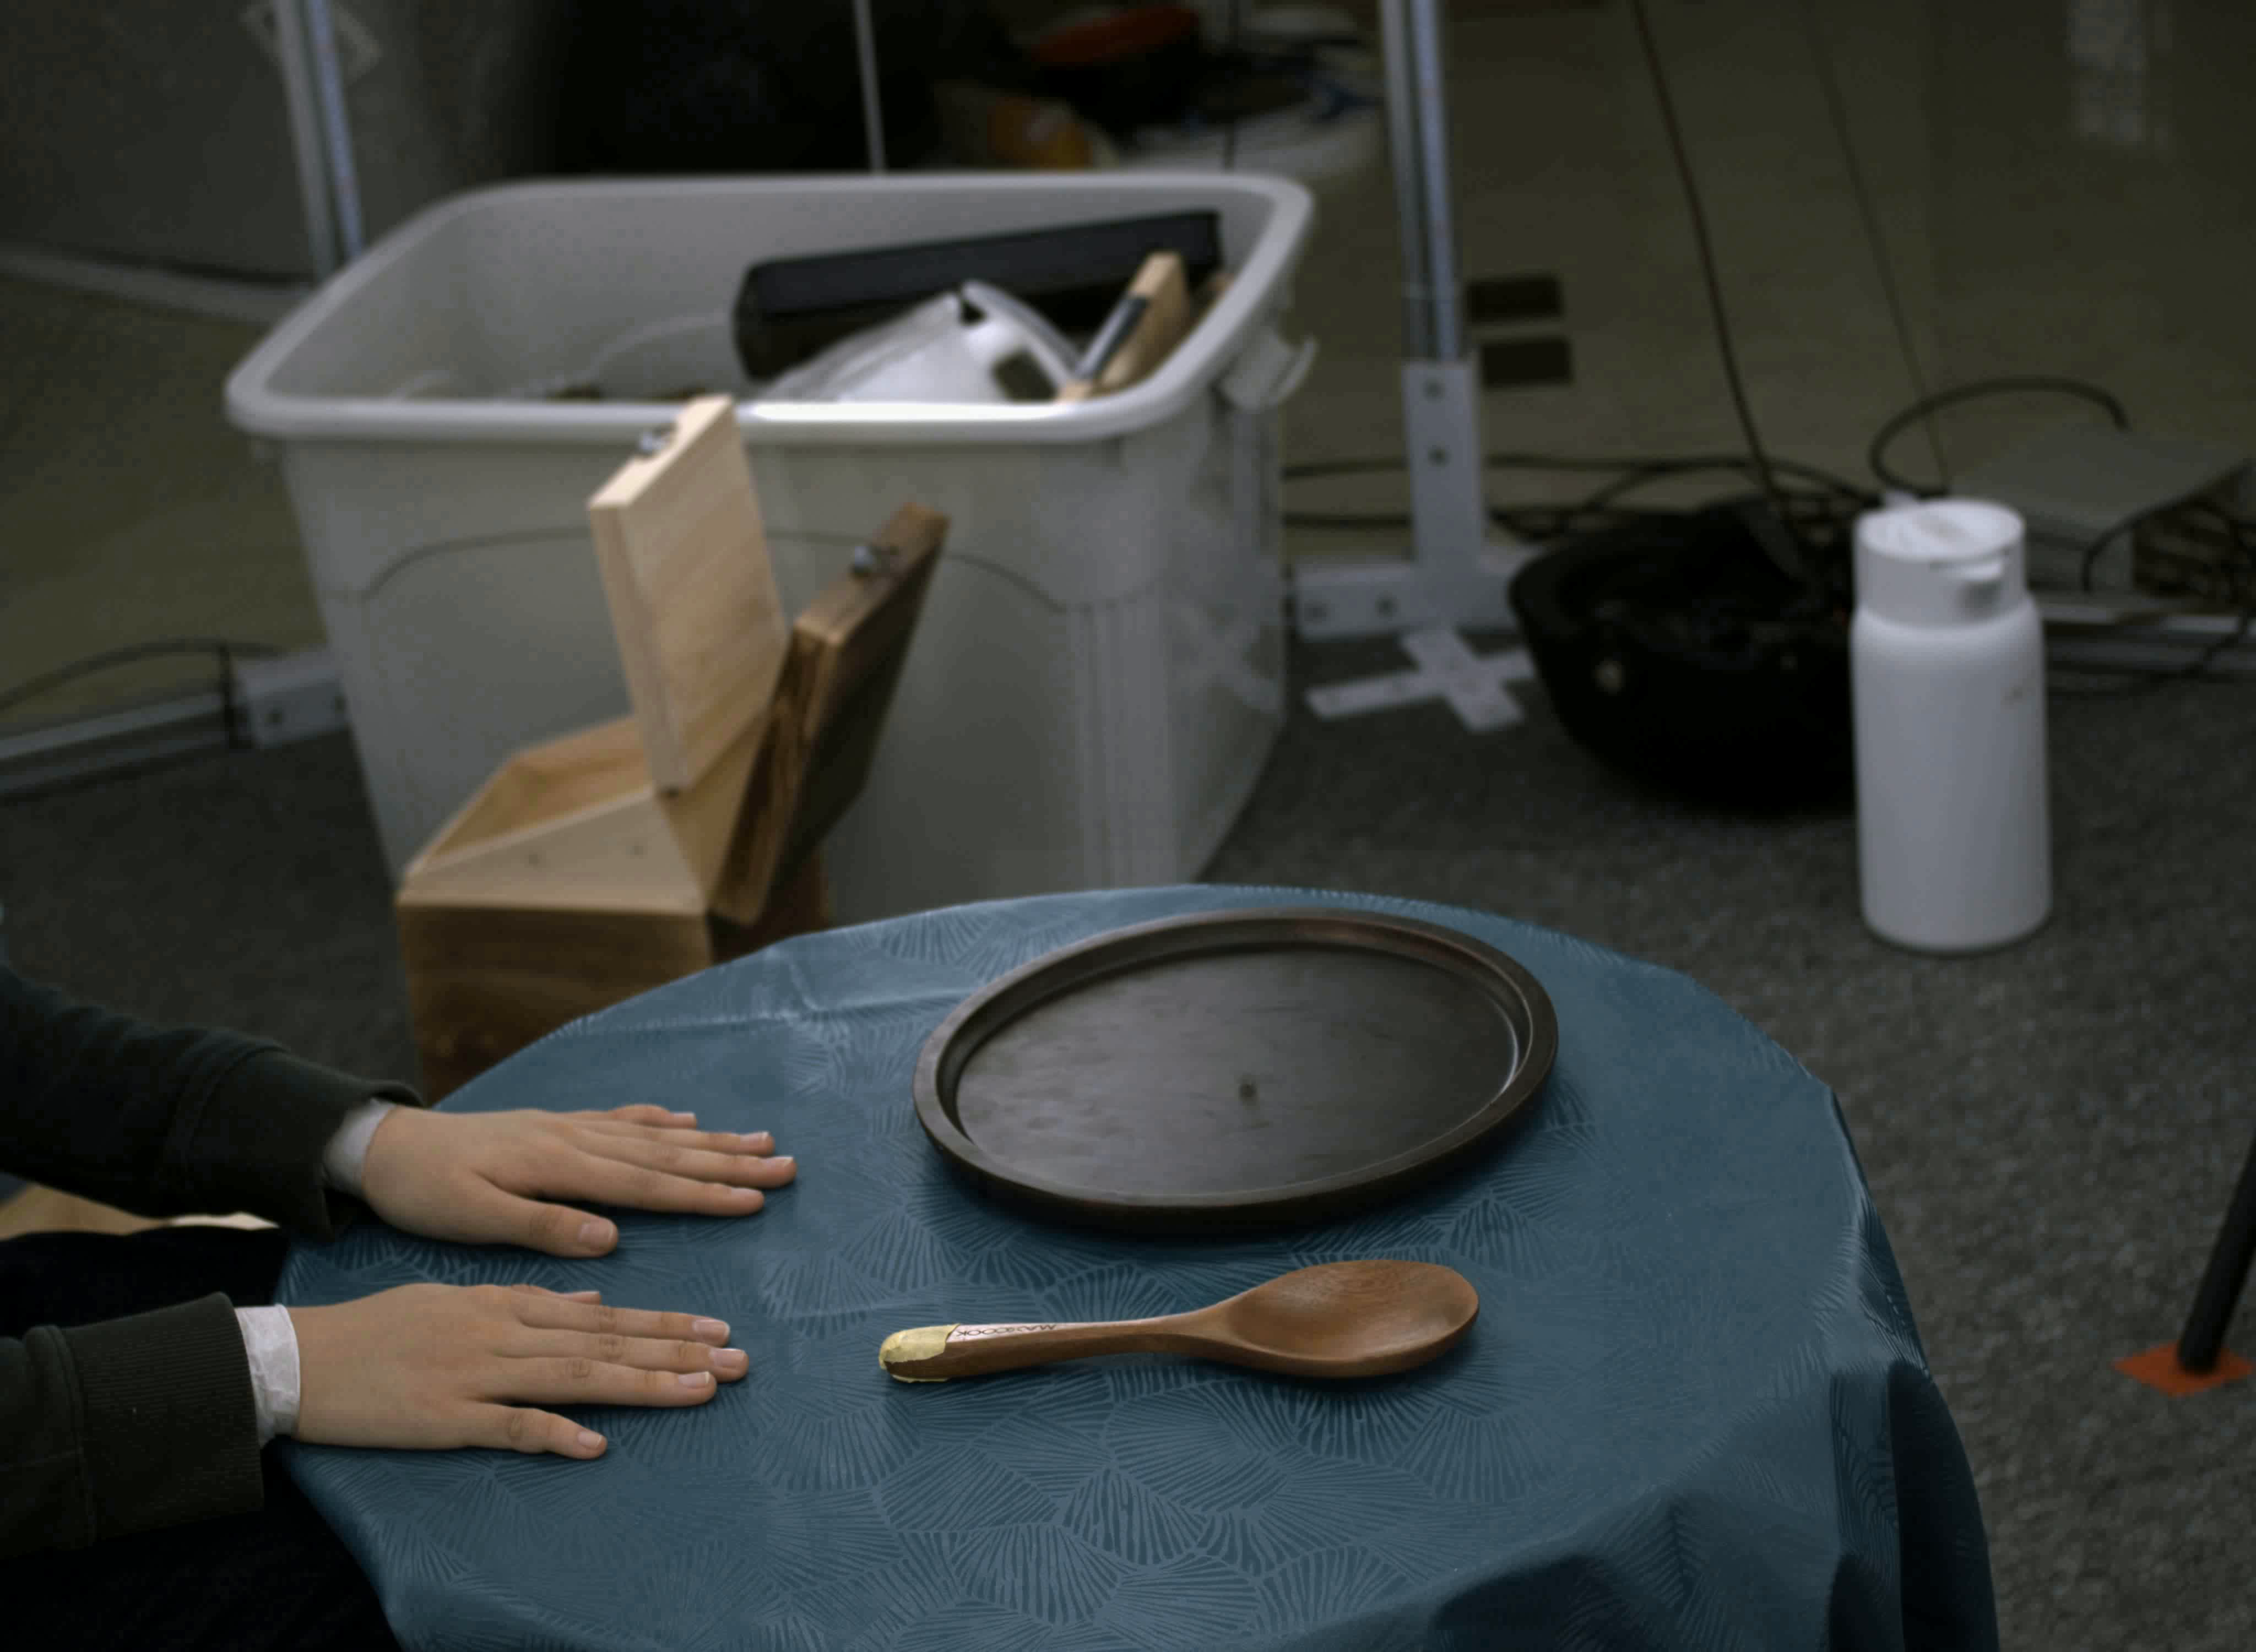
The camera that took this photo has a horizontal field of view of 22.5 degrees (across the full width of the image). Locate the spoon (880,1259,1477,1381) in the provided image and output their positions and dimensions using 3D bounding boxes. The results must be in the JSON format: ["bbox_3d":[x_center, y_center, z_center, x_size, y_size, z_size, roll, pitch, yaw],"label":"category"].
[{"bbox_3d":[0.018,0.183,2.034,0.215,0.017,0.074,-4,25,5],"label":"spoon"}]

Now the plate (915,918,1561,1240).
[{"bbox_3d":[0.043,0.096,2.207,0.254,0.029,0.251,-5,24,2],"label":"plate"}]
